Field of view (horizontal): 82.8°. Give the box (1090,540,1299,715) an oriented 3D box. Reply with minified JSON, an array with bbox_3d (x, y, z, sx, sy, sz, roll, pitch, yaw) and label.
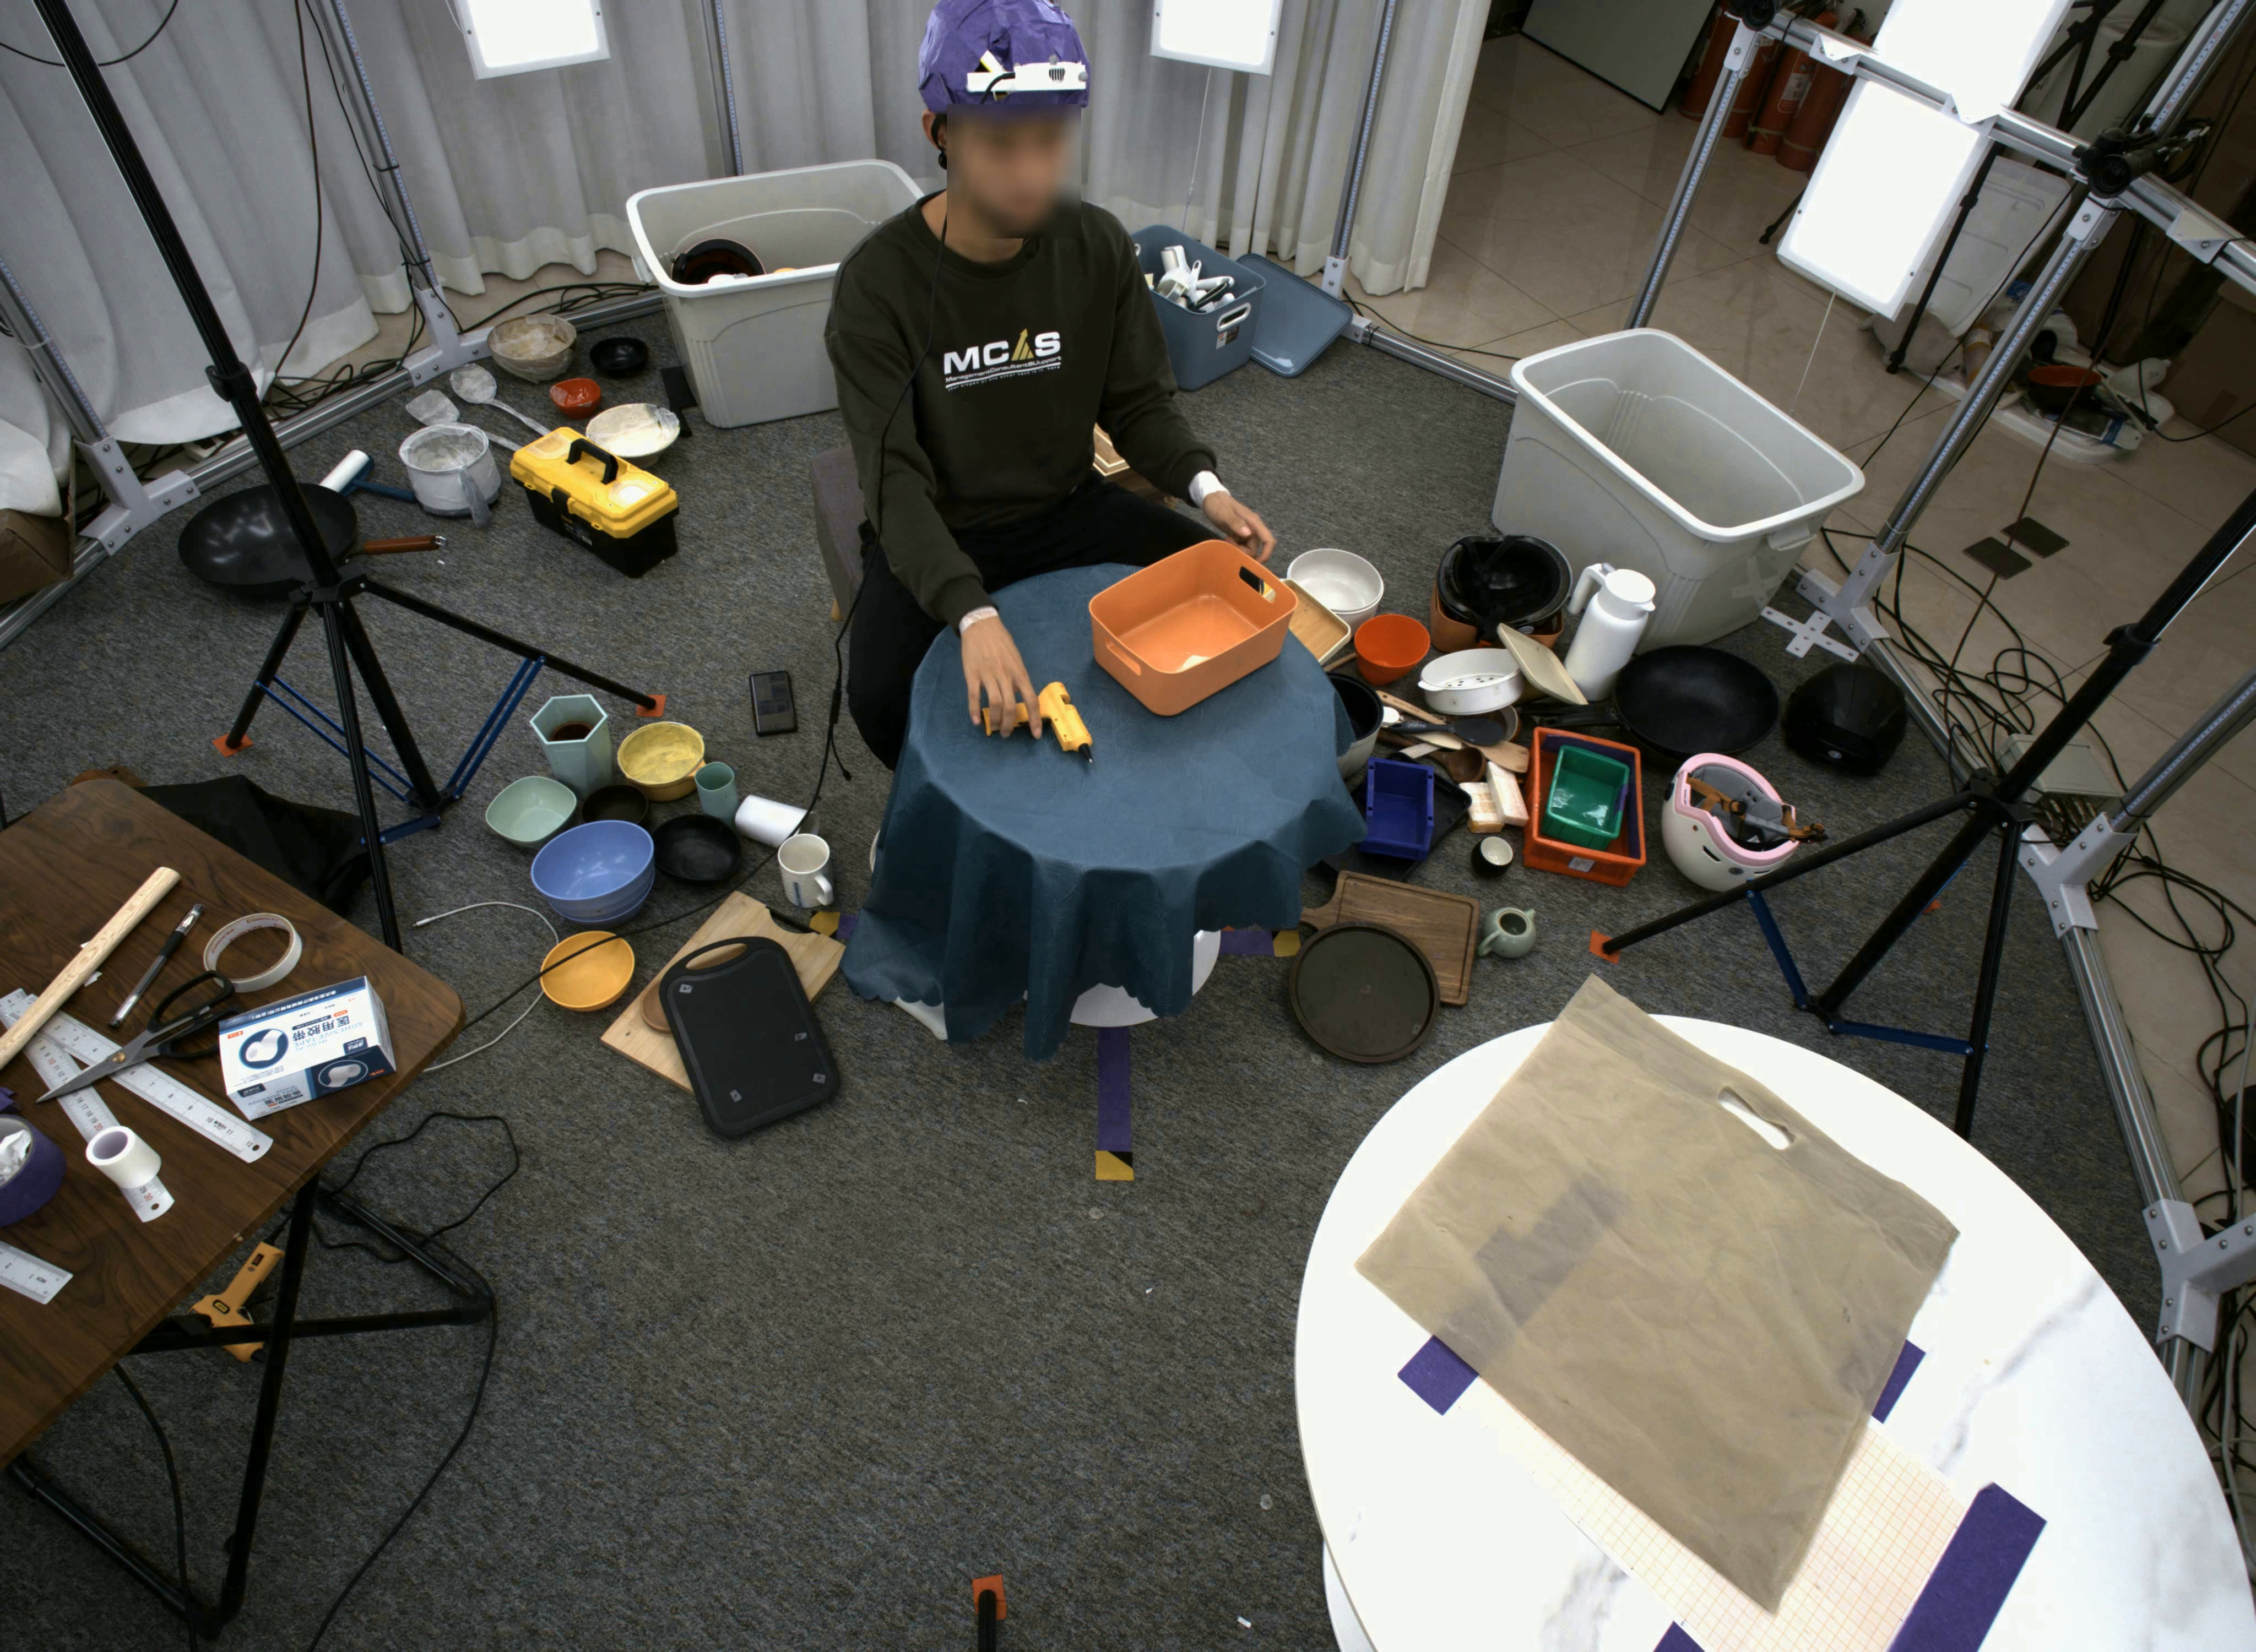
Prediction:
[{"bbox_3d":[0.092,-0.284,1.848,0.275,0.100,0.203,-32,58,-27],"label":"box"}]

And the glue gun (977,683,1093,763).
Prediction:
[{"bbox_3d":[-0.117,-0.125,1.744,0.133,0.030,0.155,-19,51,-18],"label":"glue gun"}]
